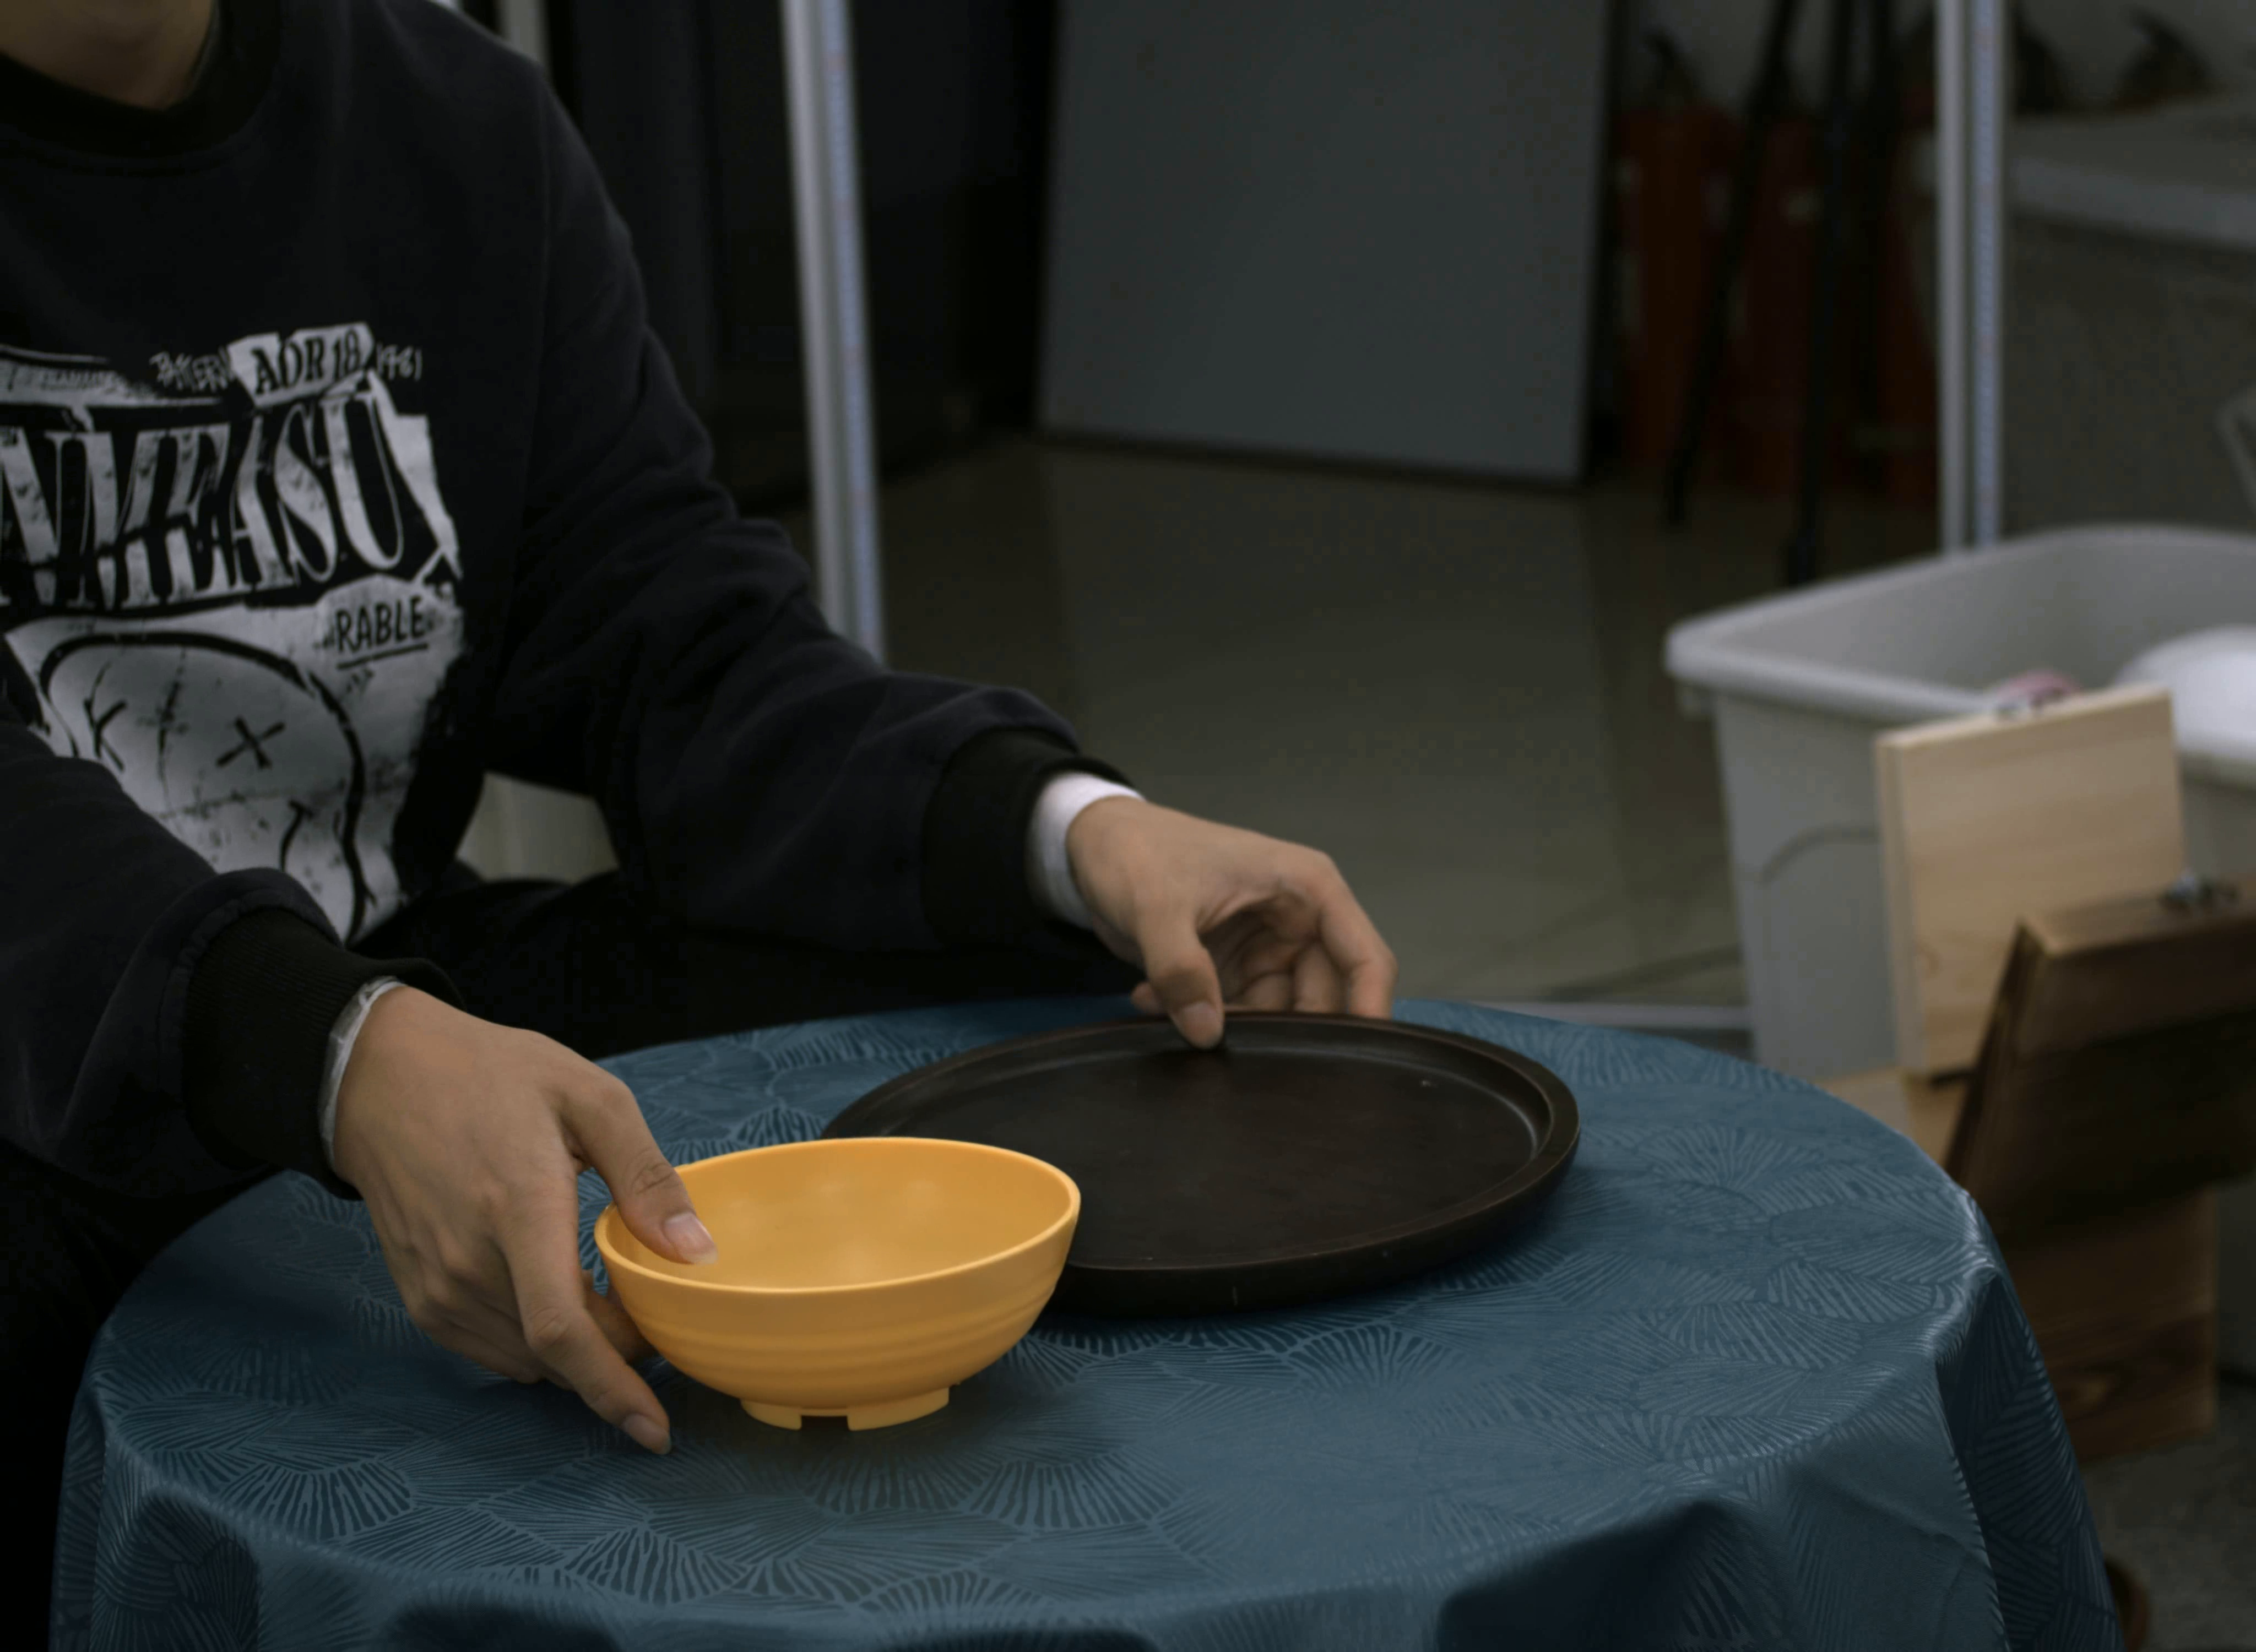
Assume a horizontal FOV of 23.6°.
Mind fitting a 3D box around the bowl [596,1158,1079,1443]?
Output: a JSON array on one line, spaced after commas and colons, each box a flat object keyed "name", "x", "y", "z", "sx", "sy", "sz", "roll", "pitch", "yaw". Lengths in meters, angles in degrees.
[{"name": "bowl", "x": -0.083, "y": 0.143, "z": 1.591, "sx": 0.143, "sy": 0.061, "sz": 0.145, "roll": -4, "pitch": 11, "yaw": 0}]

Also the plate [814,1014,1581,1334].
[{"name": "plate", "x": 0.023, "y": 0.110, "z": 1.753, "sx": 0.251, "sy": 0.029, "sz": 0.255, "roll": -6, "pitch": 16, "yaw": 1}]
